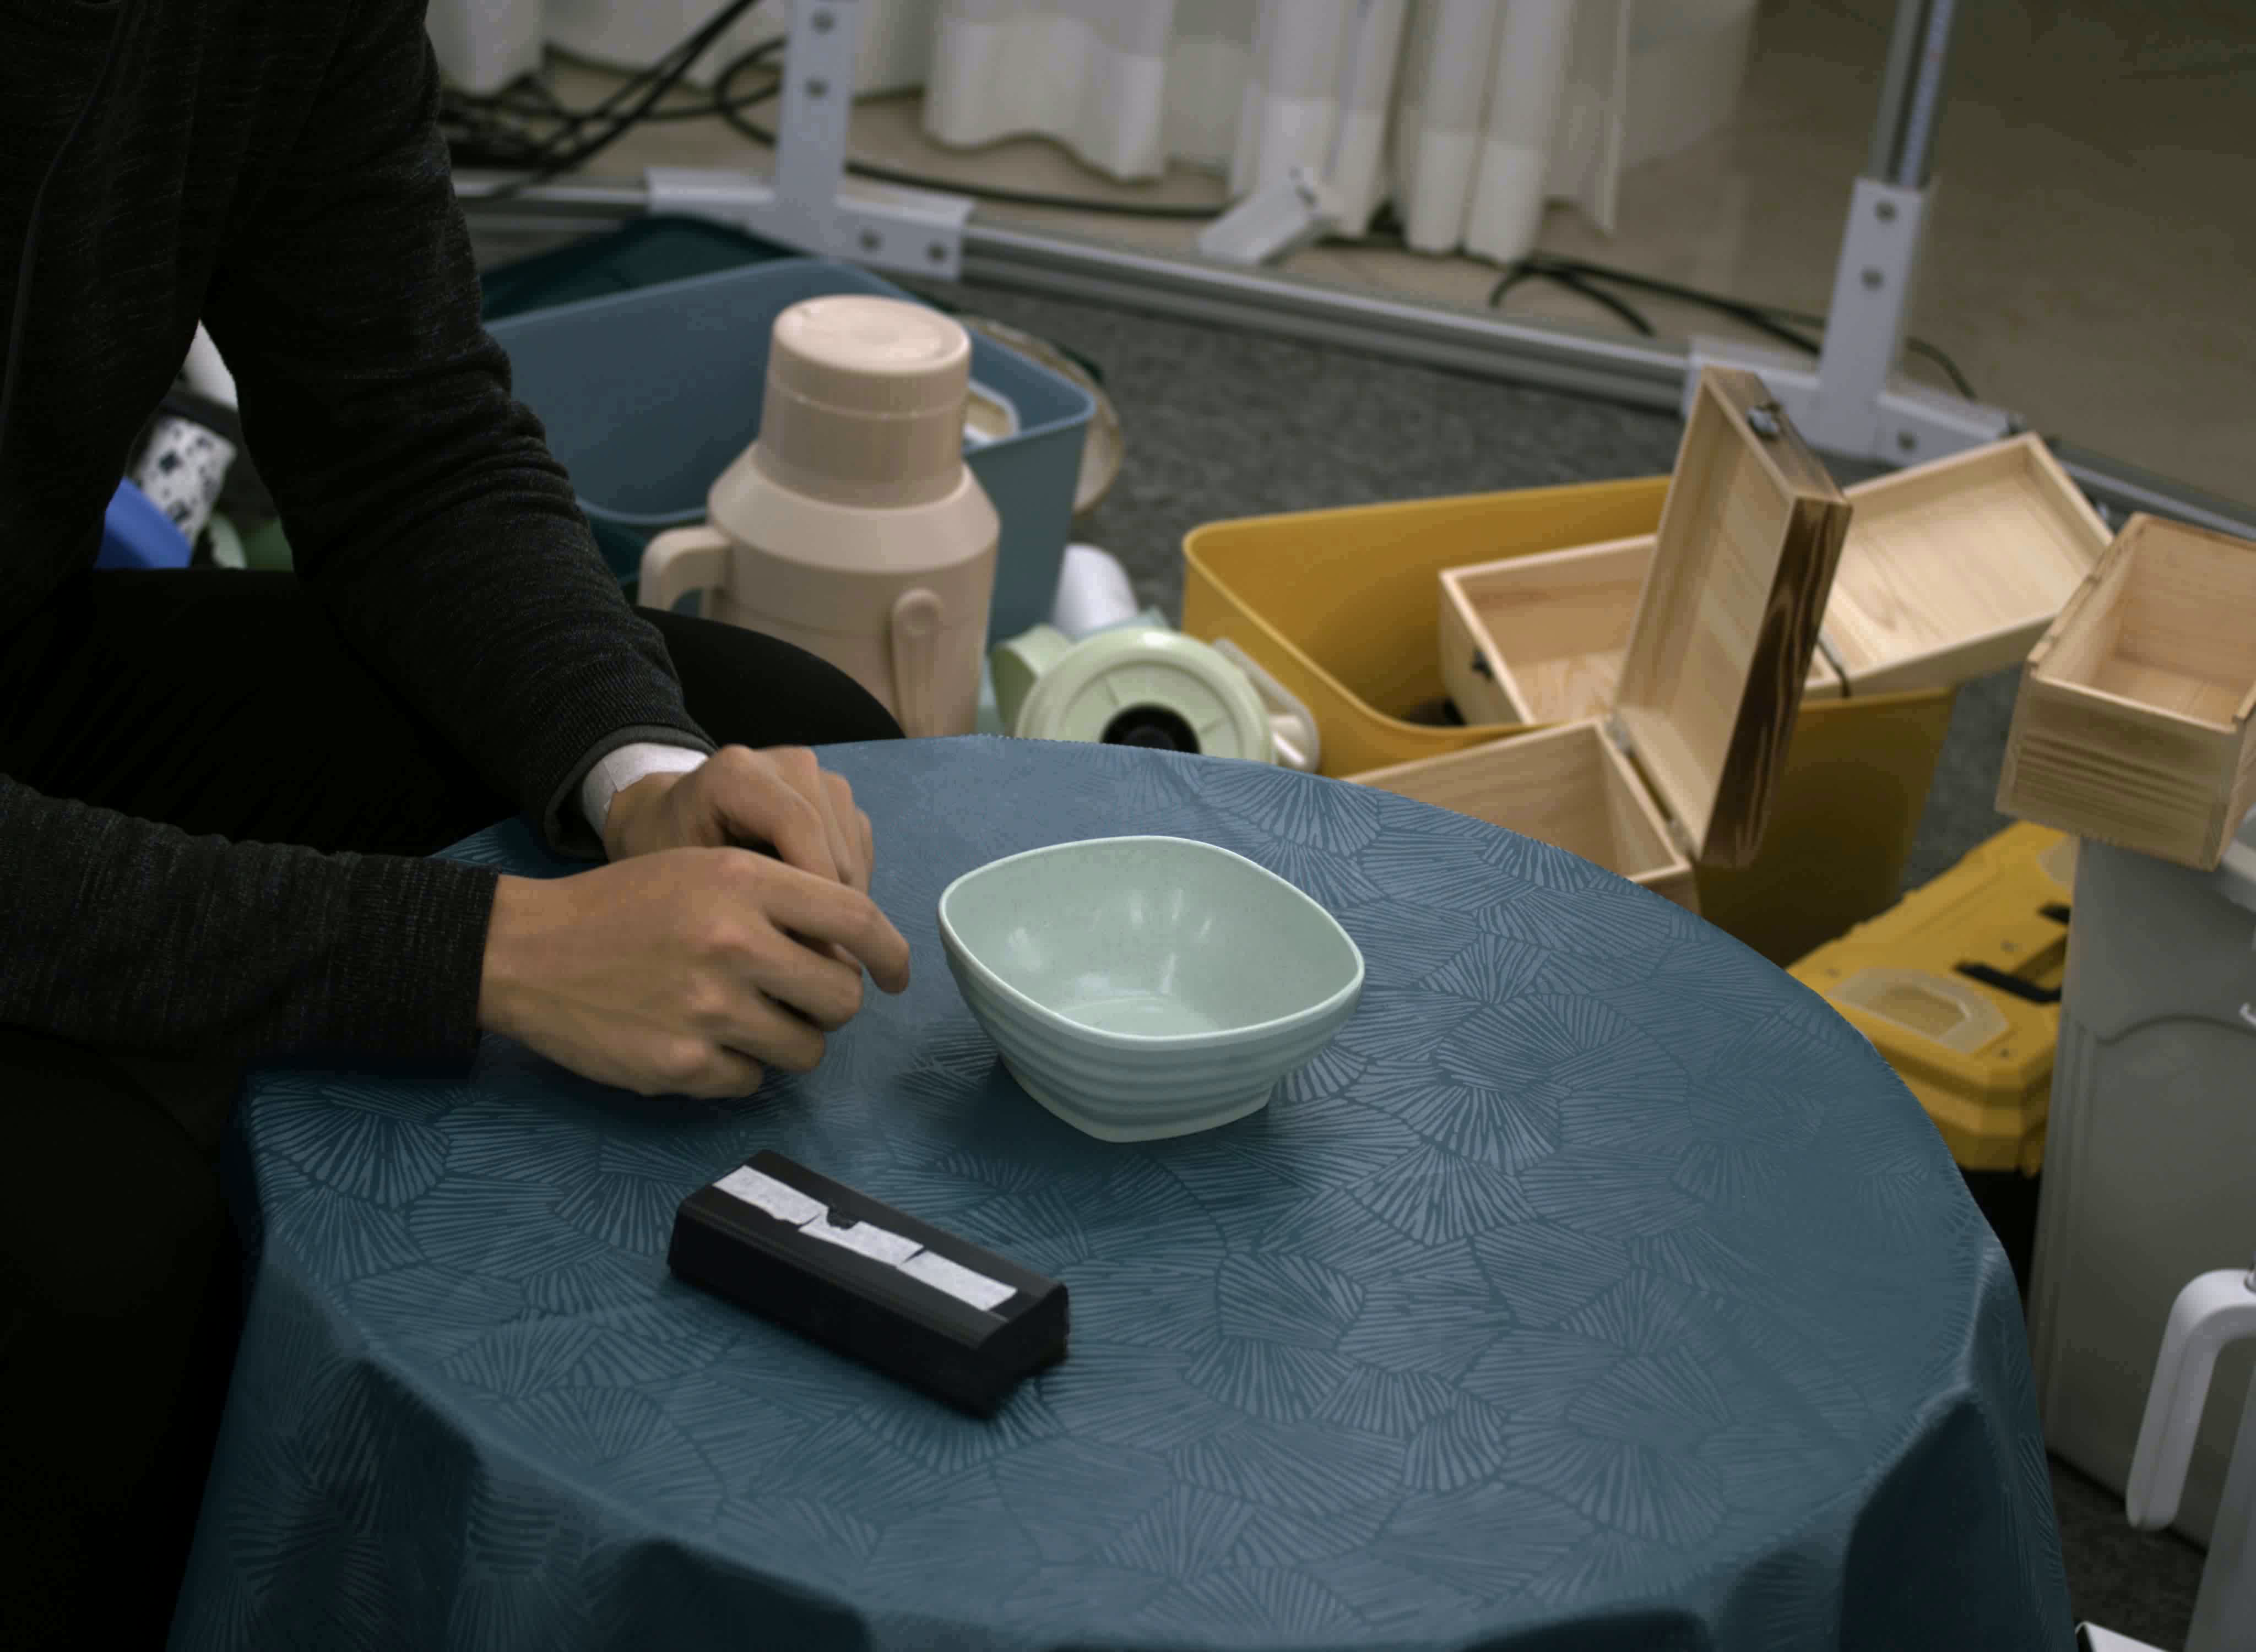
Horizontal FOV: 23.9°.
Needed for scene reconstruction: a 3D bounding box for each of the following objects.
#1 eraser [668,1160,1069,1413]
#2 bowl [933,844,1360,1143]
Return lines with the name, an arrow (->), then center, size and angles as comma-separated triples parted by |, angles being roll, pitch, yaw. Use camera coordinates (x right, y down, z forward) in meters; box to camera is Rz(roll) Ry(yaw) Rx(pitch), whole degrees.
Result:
eraser -> -0.084, 0.147, 1.706 | 0.126, 0.030, 0.053 | 21, 27, 27
bowl -> 0.003, 0.064, 1.860 | 0.151, 0.058, 0.152 | 7, 25, -4
